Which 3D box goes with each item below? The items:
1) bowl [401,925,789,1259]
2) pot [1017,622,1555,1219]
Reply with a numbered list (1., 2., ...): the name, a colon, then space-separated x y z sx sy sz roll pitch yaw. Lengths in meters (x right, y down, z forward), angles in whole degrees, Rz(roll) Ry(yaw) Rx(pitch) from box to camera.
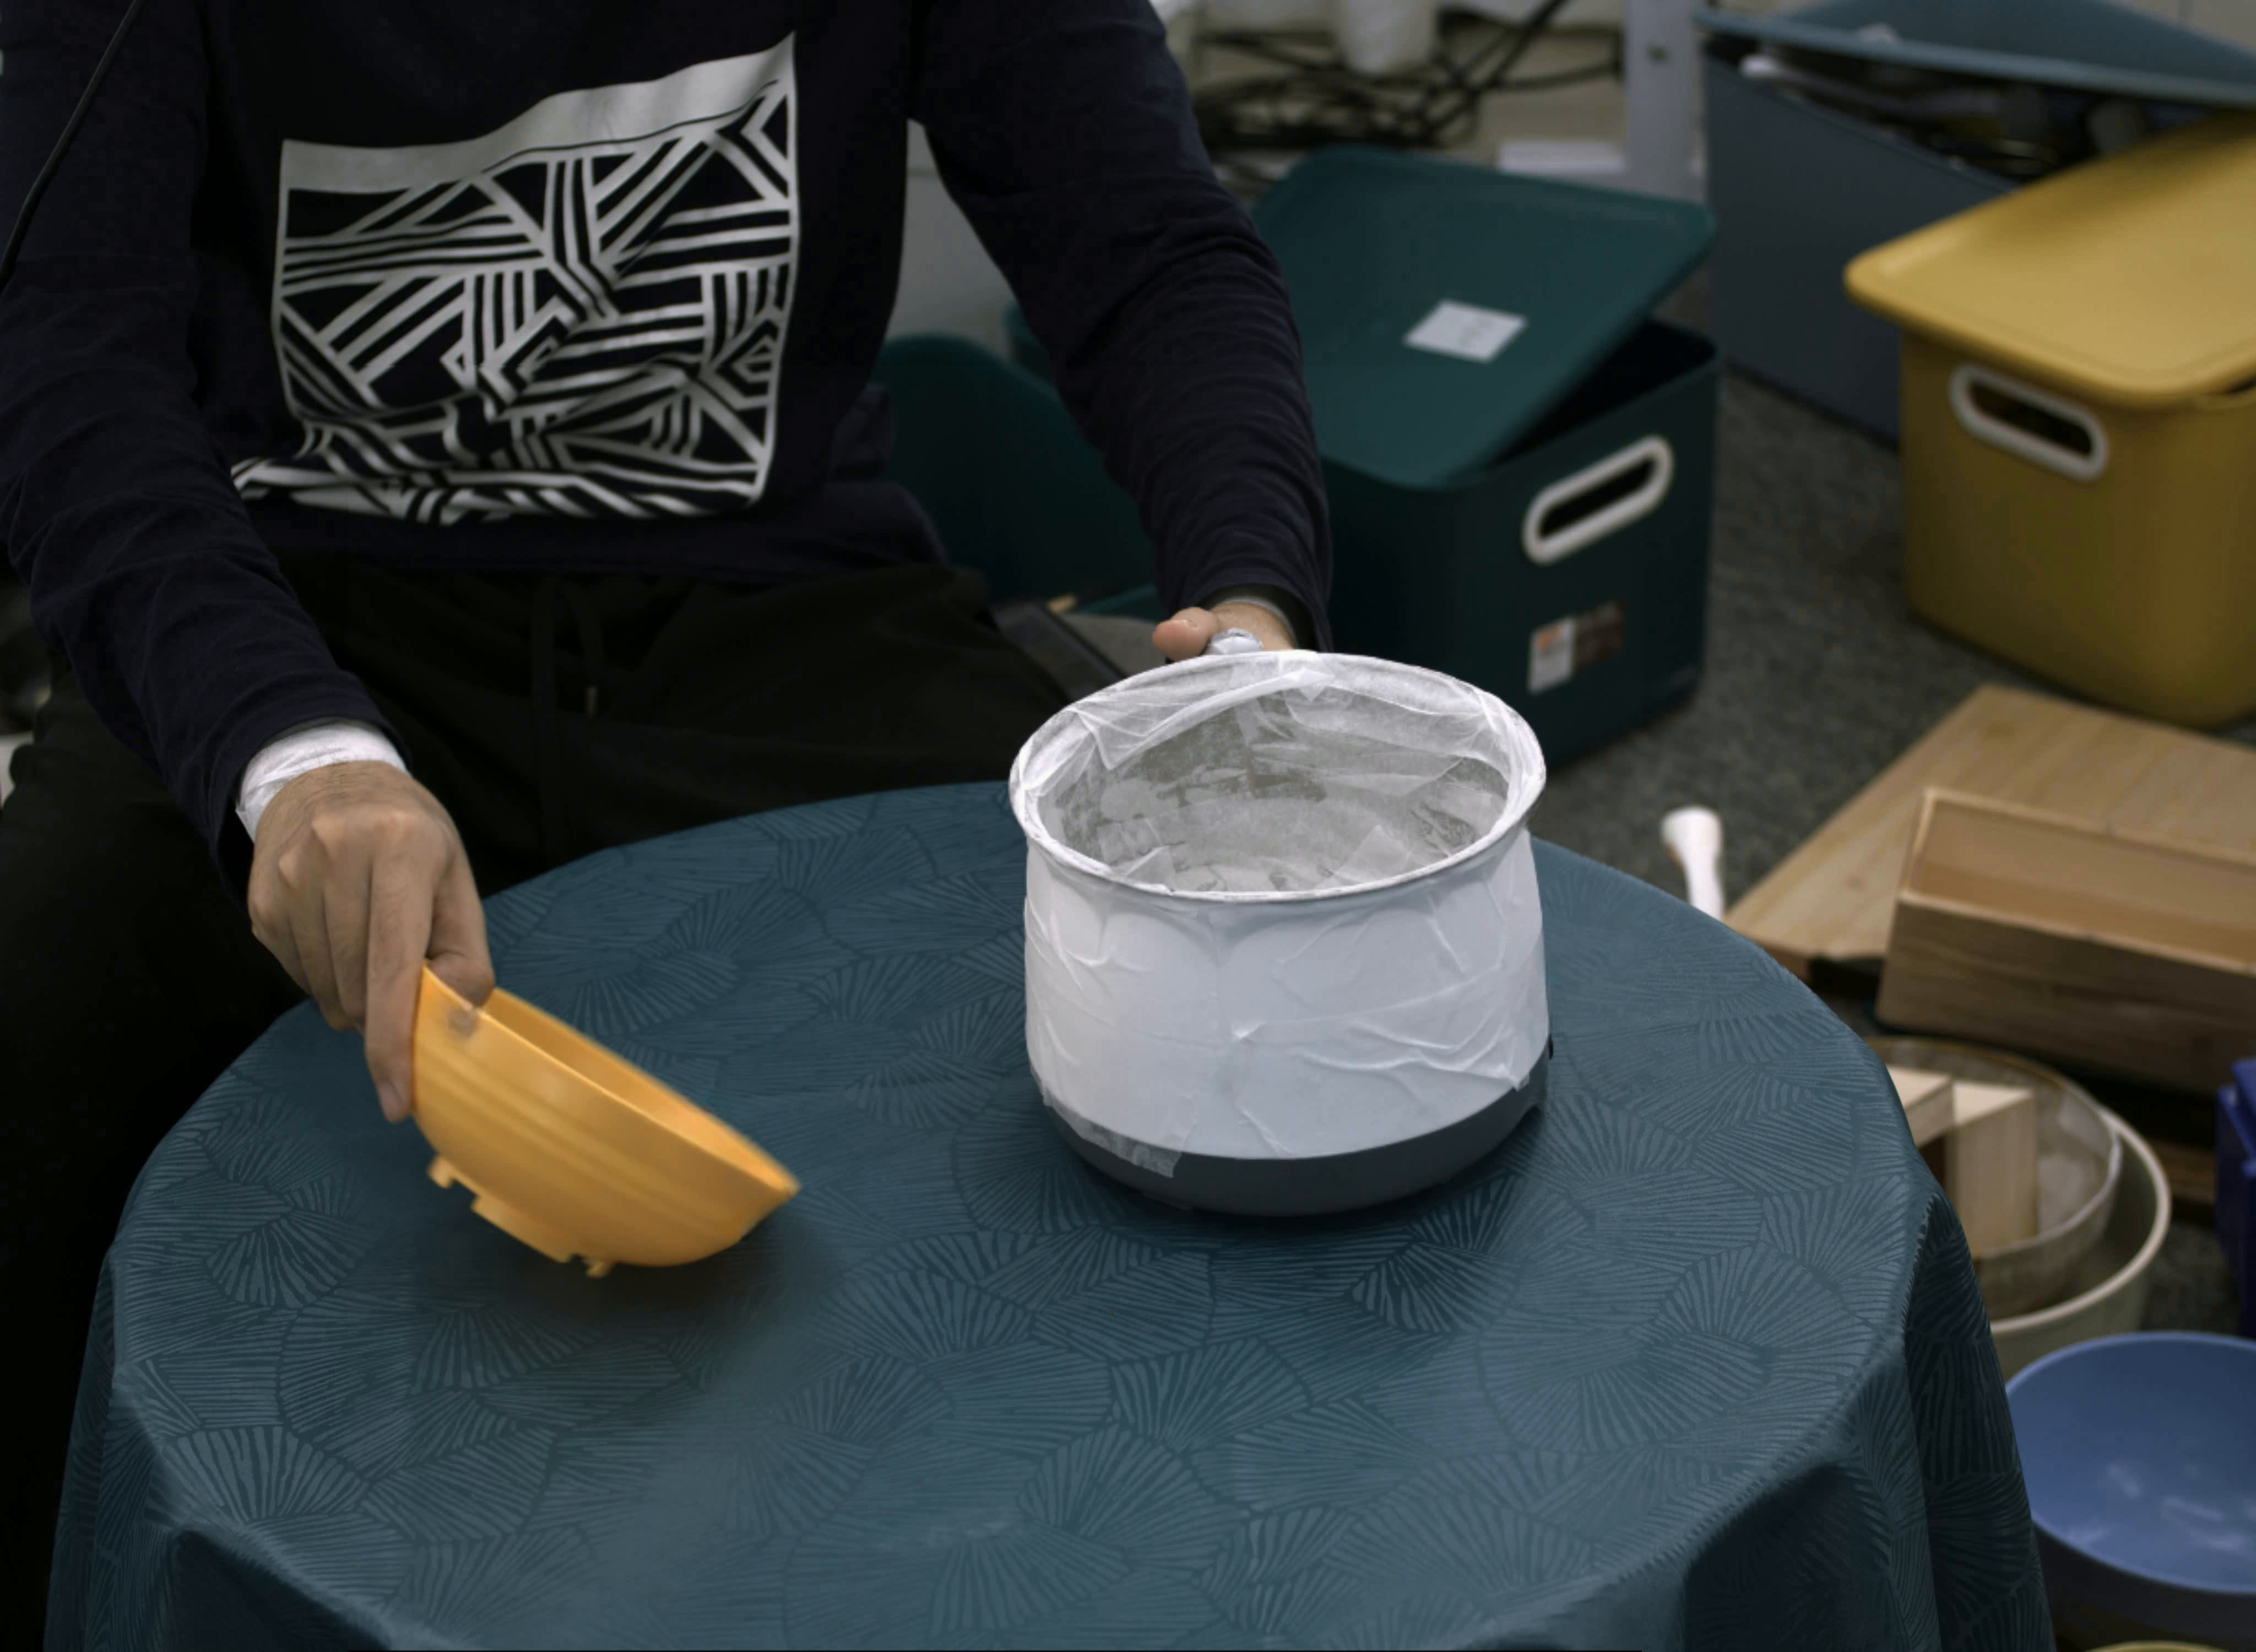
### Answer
1. bowl: -0.184 0.098 1.812 0.145 0.060 0.145 35 2 0
2. pot: 0.048 0.024 1.896 0.178 0.135 0.237 -4 27 -8
